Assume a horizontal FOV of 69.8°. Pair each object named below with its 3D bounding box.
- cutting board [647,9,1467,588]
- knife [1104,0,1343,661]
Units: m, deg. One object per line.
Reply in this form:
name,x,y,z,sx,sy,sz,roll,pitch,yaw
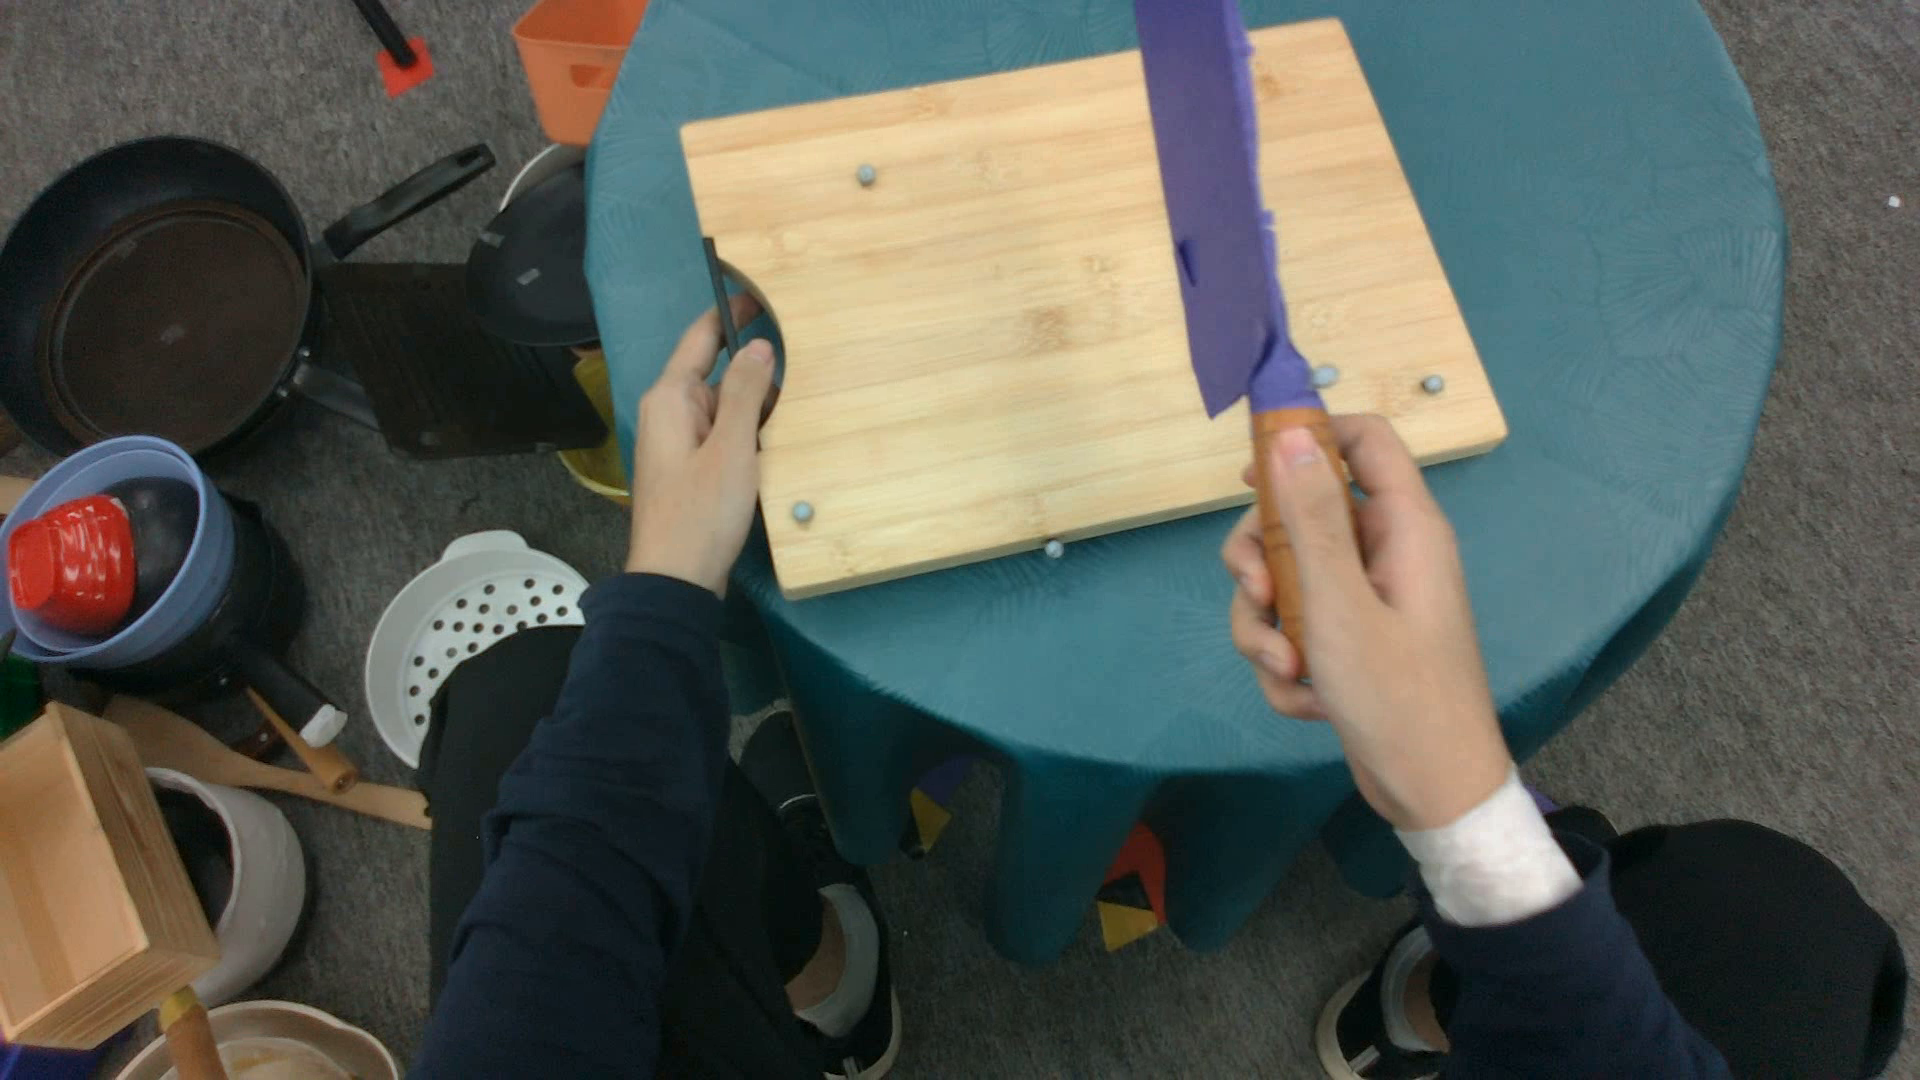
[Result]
cutting board,0.045,-0.126,0.657,0.349,0.023,0.251,-13,72,-9
knife,0.089,-0.112,0.510,0.032,0.103,0.315,-7,84,-7
